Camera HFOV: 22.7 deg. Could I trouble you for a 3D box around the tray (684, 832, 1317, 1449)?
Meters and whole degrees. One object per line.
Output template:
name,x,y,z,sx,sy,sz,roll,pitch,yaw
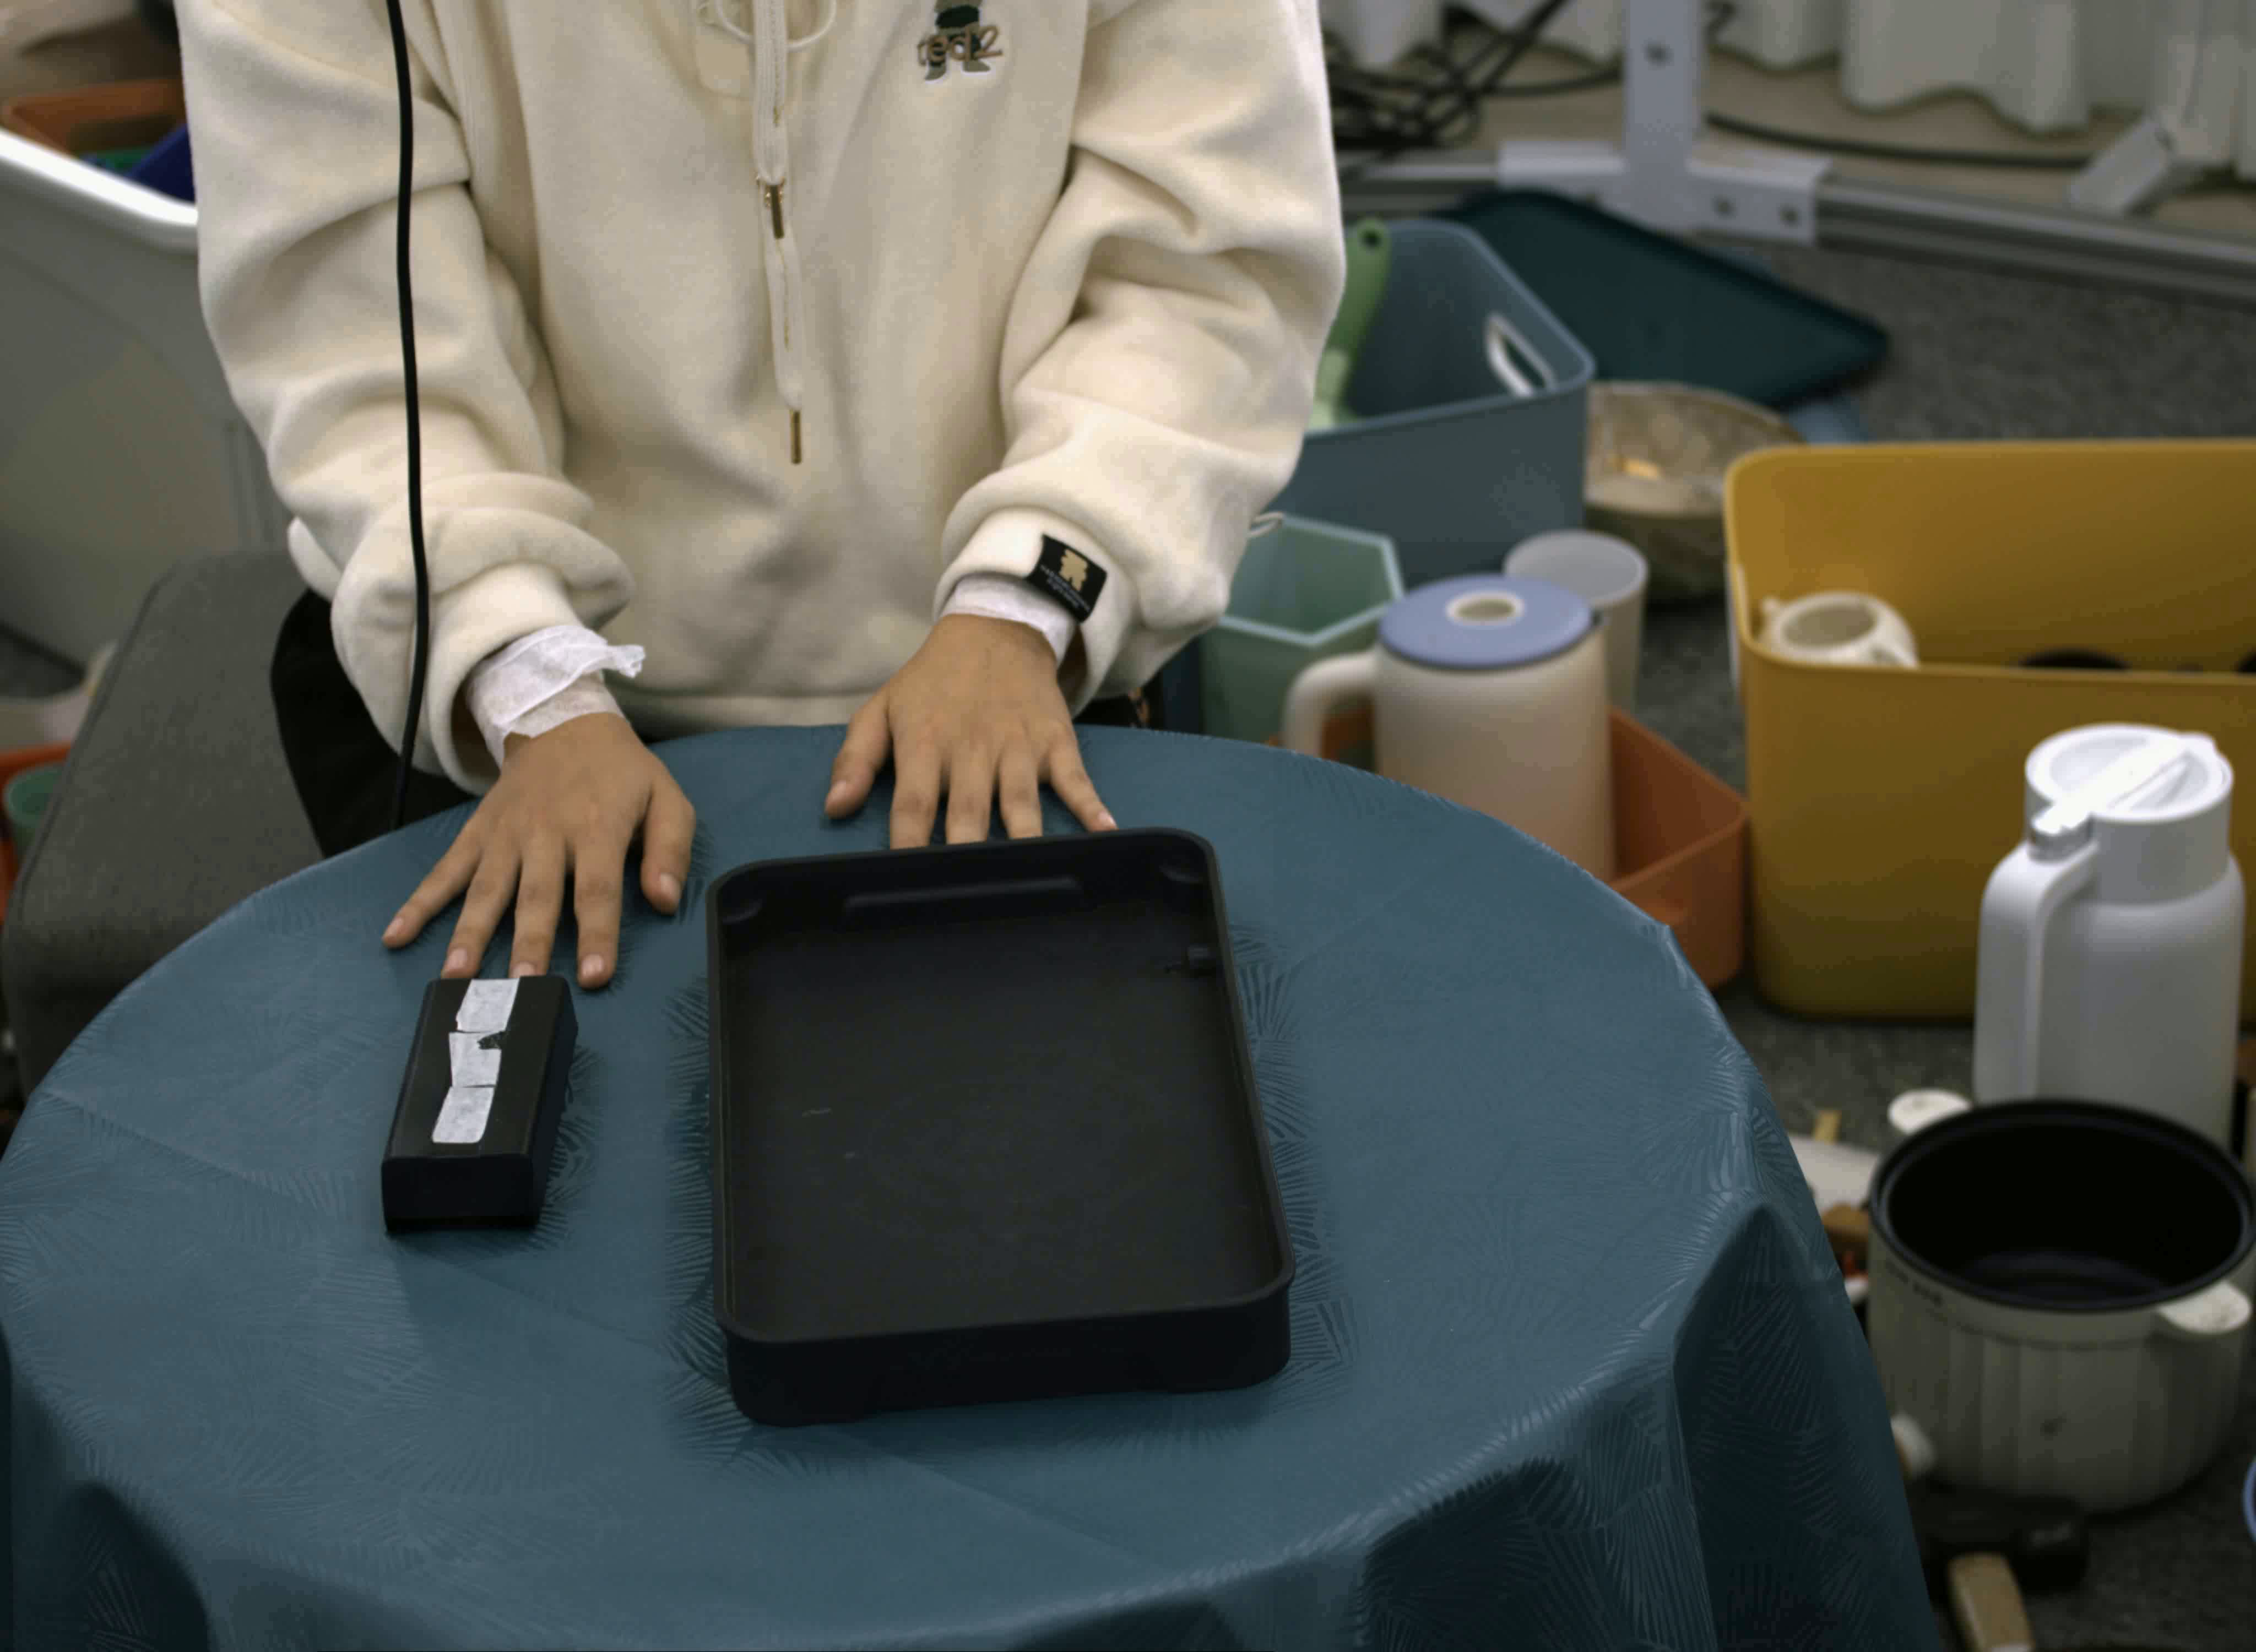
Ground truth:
tray,-0.048,0.098,1.871,0.184,0.036,0.322,-6,28,-5

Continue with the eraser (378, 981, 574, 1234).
eraser,-0.220,0.095,1.904,0.053,0.030,0.127,1,27,0
